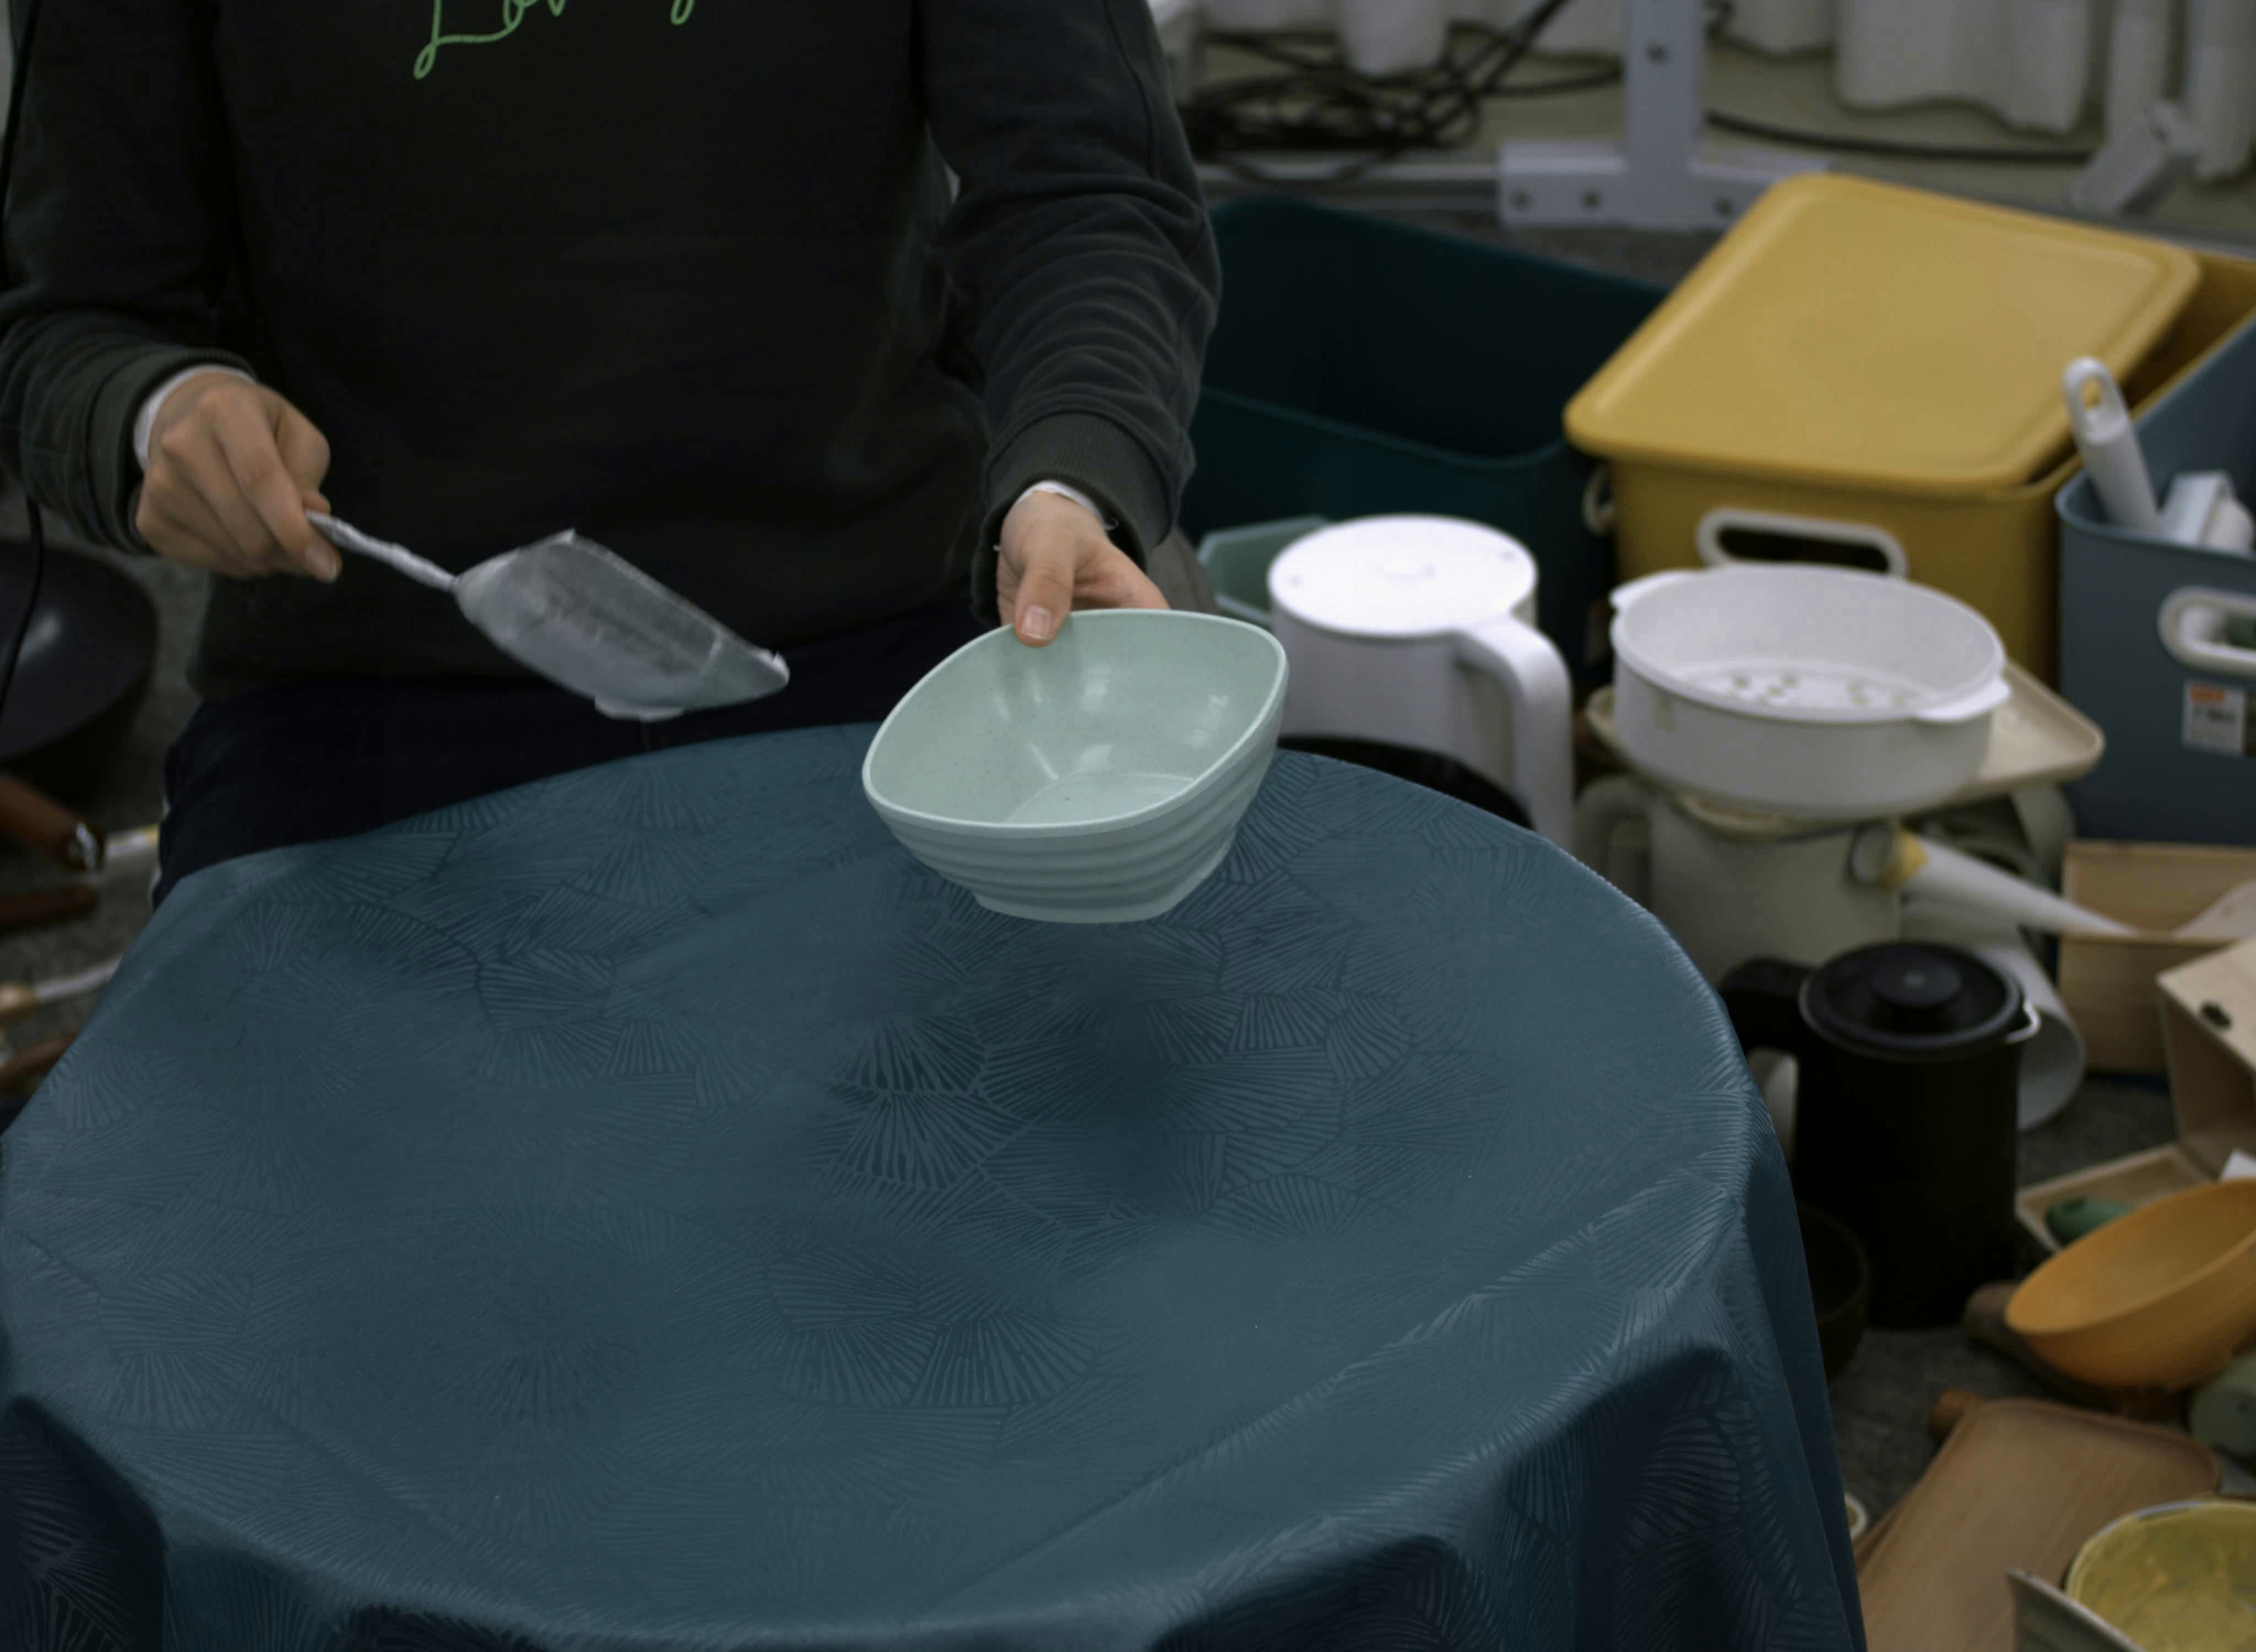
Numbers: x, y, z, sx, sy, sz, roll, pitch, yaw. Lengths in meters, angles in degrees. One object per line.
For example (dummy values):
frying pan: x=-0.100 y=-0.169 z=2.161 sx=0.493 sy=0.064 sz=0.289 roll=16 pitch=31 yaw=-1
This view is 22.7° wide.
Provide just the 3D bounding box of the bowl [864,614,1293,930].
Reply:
bowl: x=-0.012 y=-0.012 z=1.912 sx=0.150 sy=0.058 sz=0.154 roll=-8 pitch=31 yaw=5

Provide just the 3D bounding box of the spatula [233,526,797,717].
spatula: x=-0.230 y=-0.083 z=1.907 sx=0.098 sy=0.045 sz=0.364 roll=30 pitch=-5 yaw=-32
